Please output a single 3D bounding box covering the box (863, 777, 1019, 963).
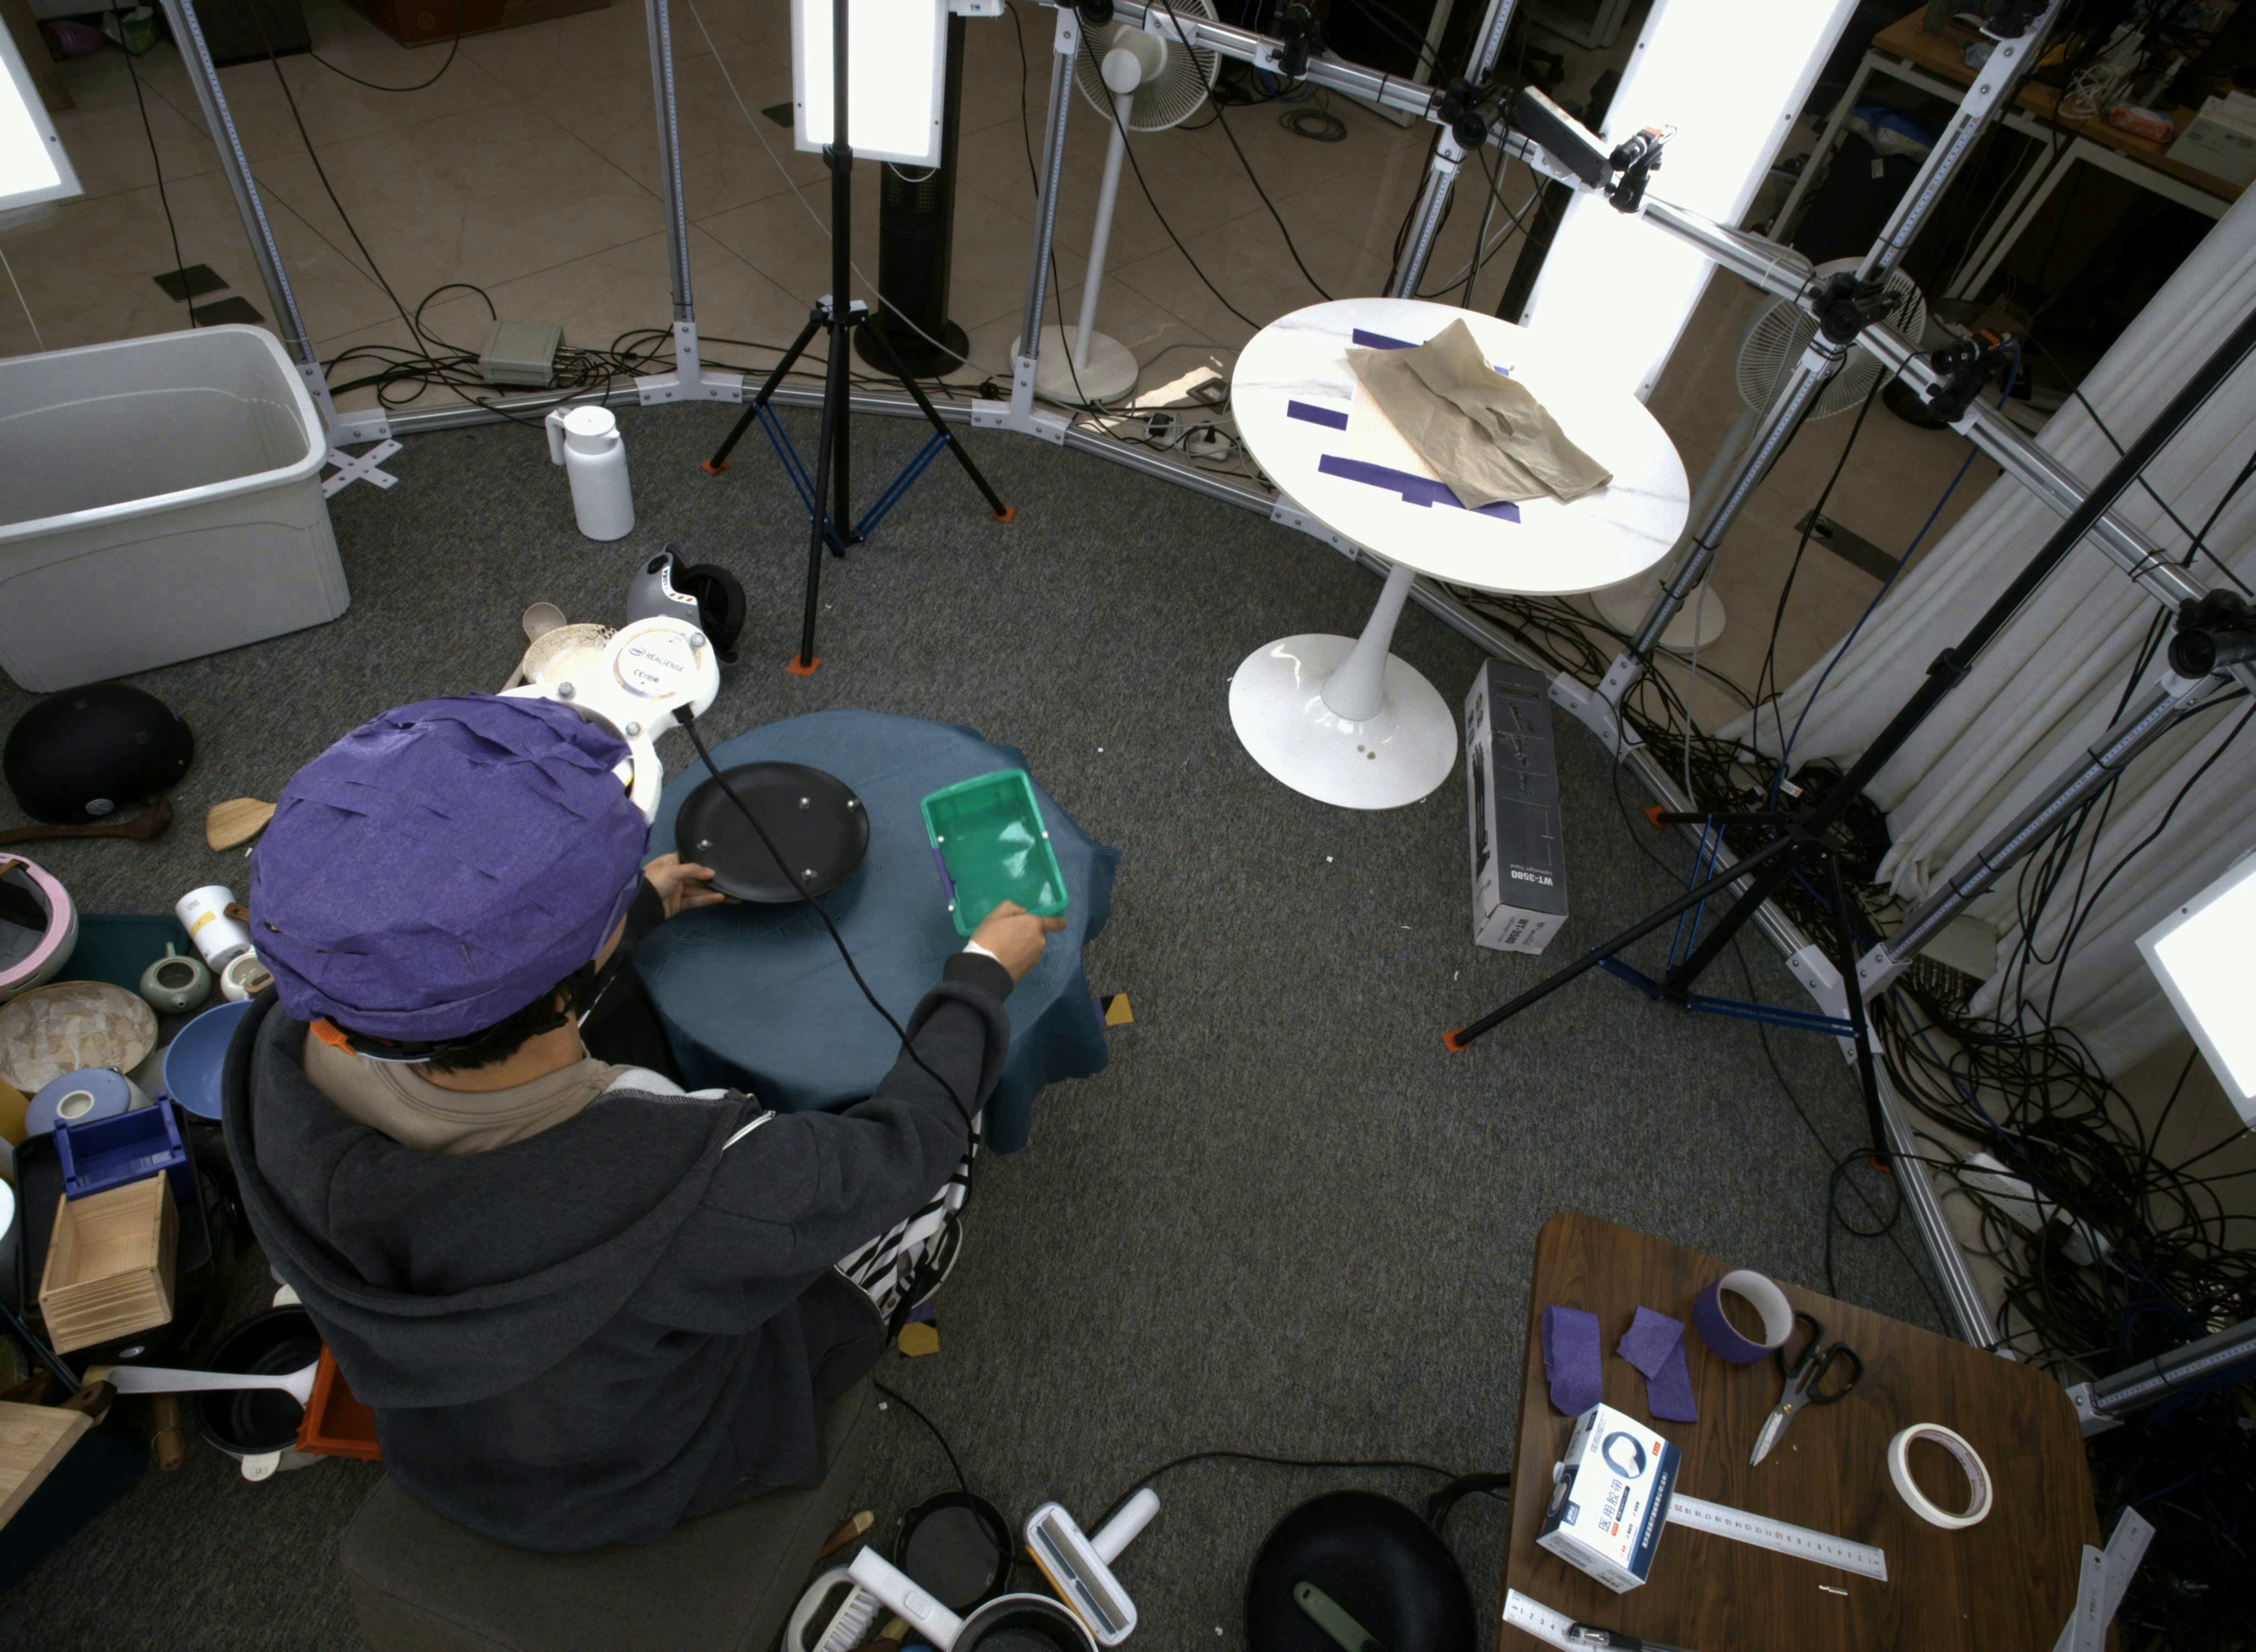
[{"bbox_3d":[-0.224,0.056,1.576,0.138,0.066,0.207,-21,69,-10],"label":"box"}]

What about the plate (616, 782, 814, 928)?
[{"bbox_3d":[-0.519,0.037,1.622,0.244,0.024,0.239,10,46,-9],"label":"plate"}]
